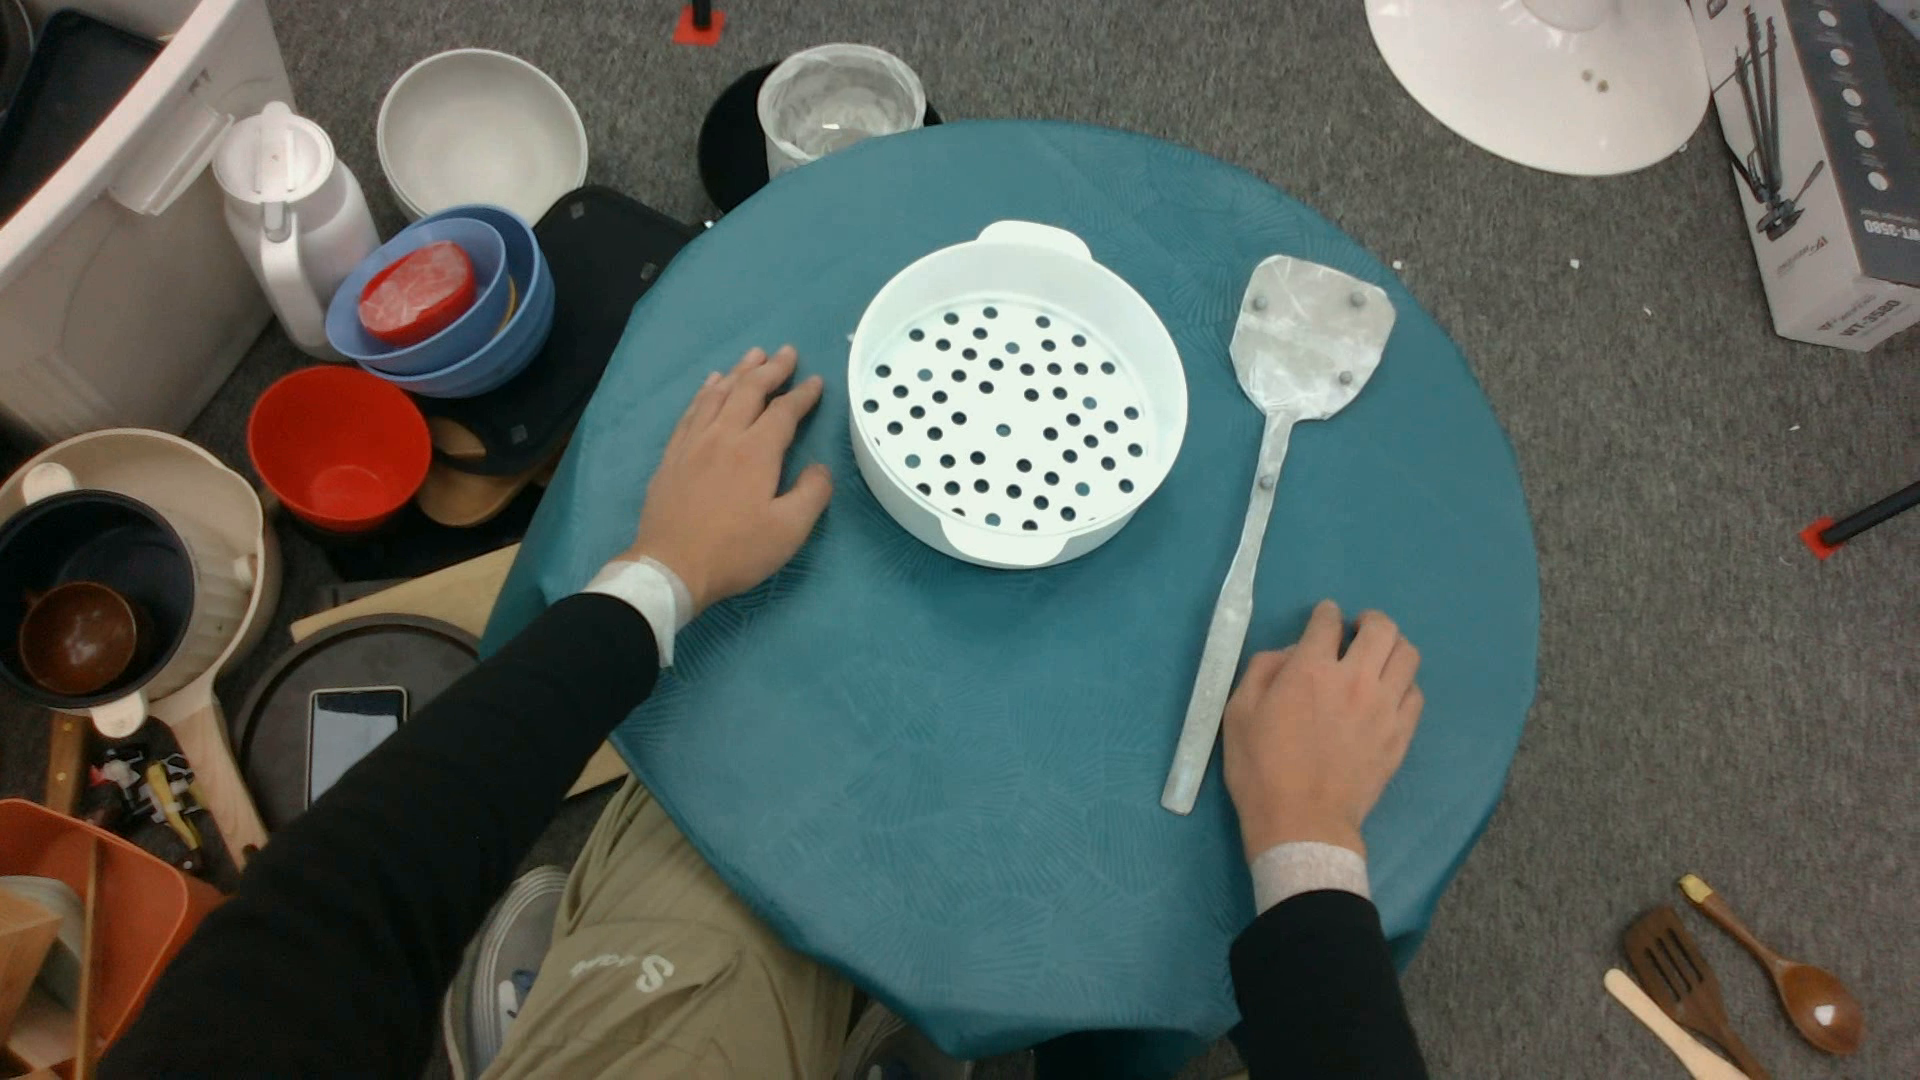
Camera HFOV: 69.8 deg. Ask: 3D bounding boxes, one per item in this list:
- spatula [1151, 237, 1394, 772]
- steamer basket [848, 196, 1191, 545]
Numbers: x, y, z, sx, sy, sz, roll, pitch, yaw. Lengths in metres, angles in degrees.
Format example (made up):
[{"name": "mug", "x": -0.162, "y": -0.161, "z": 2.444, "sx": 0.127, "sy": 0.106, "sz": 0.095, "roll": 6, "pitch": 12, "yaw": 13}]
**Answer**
[{"name": "spatula", "x": 0.181, "y": -0.027, "z": 0.839, "sx": 0.099, "sy": 0.044, "sz": 0.366, "roll": 22, "pitch": 65, "yaw": -2}, {"name": "steamer basket", "x": 0.033, "y": -0.094, "z": 0.827, "sx": 0.202, "sy": 0.069, "sz": 0.231, "roll": 9, "pitch": 66, "yaw": -4}]
